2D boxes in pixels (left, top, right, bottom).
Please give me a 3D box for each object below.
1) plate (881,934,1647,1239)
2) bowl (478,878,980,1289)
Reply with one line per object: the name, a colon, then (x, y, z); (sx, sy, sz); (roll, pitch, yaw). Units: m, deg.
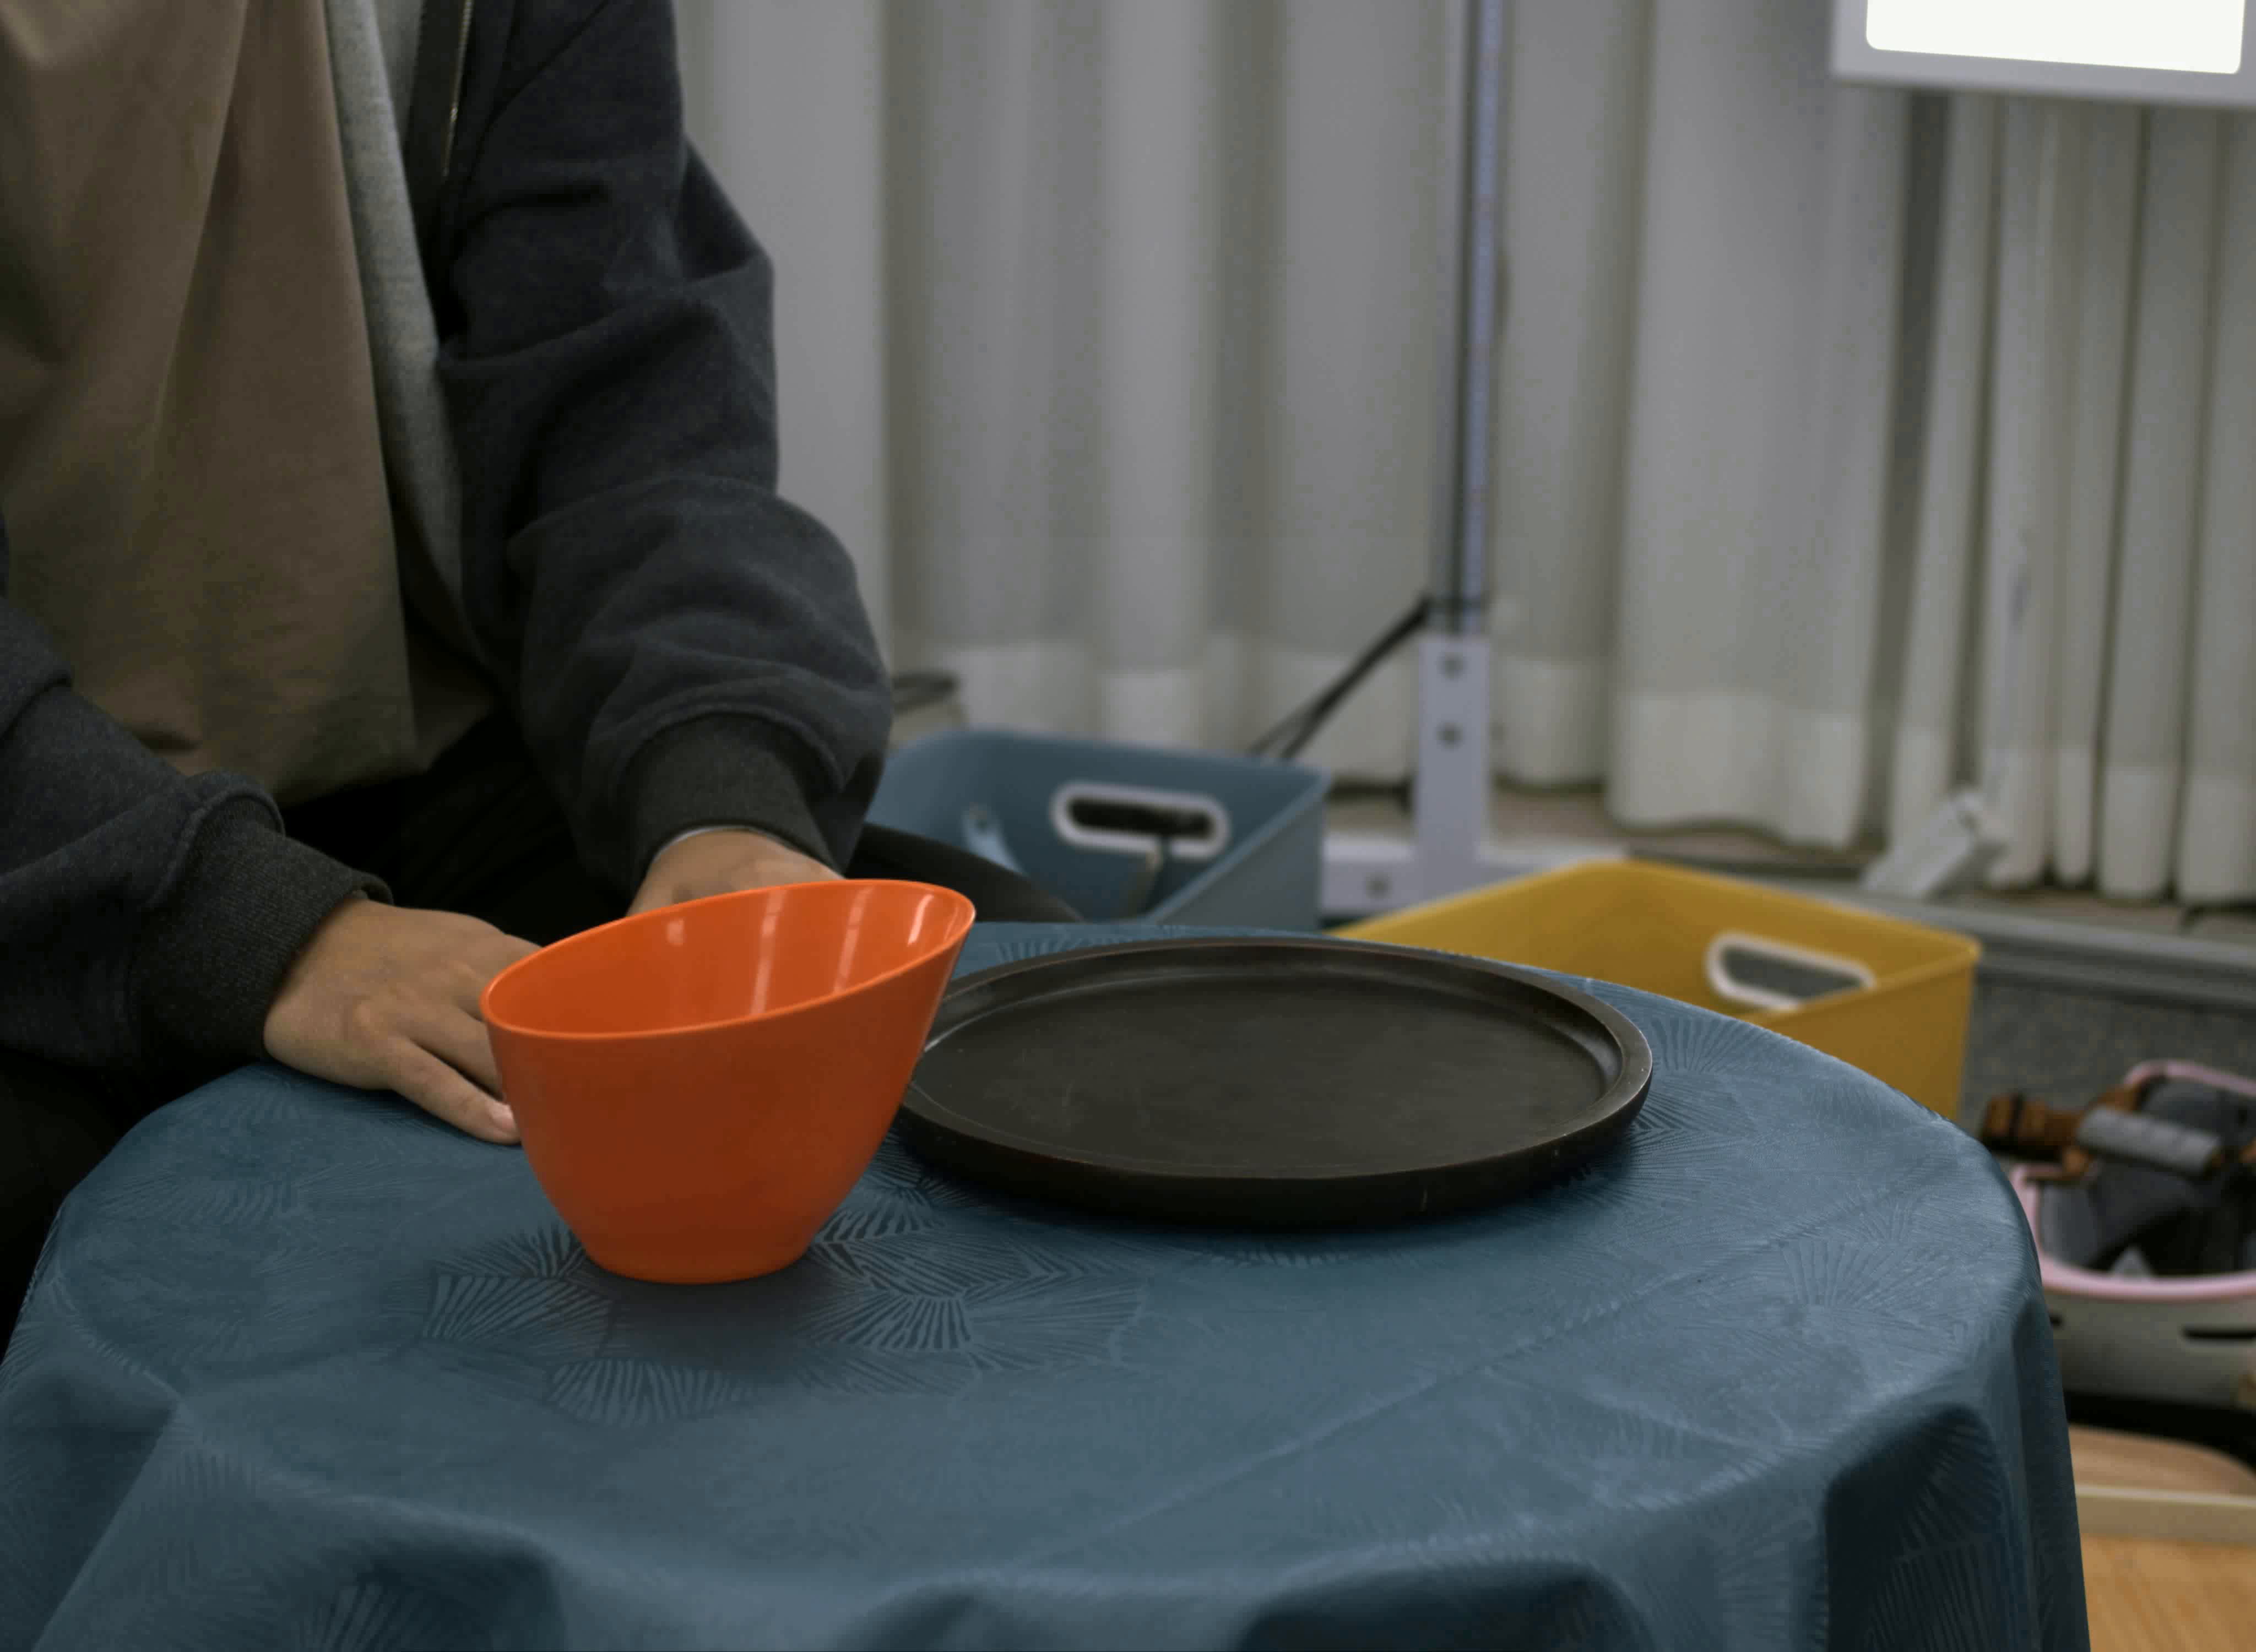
plate: (0.041, 0.081, 1.694); (0.254, 0.029, 0.253); (0, 16, 1)
bowl: (-0.118, 0.077, 1.554); (0.147, 0.105, 0.147); (1, 18, 0)
